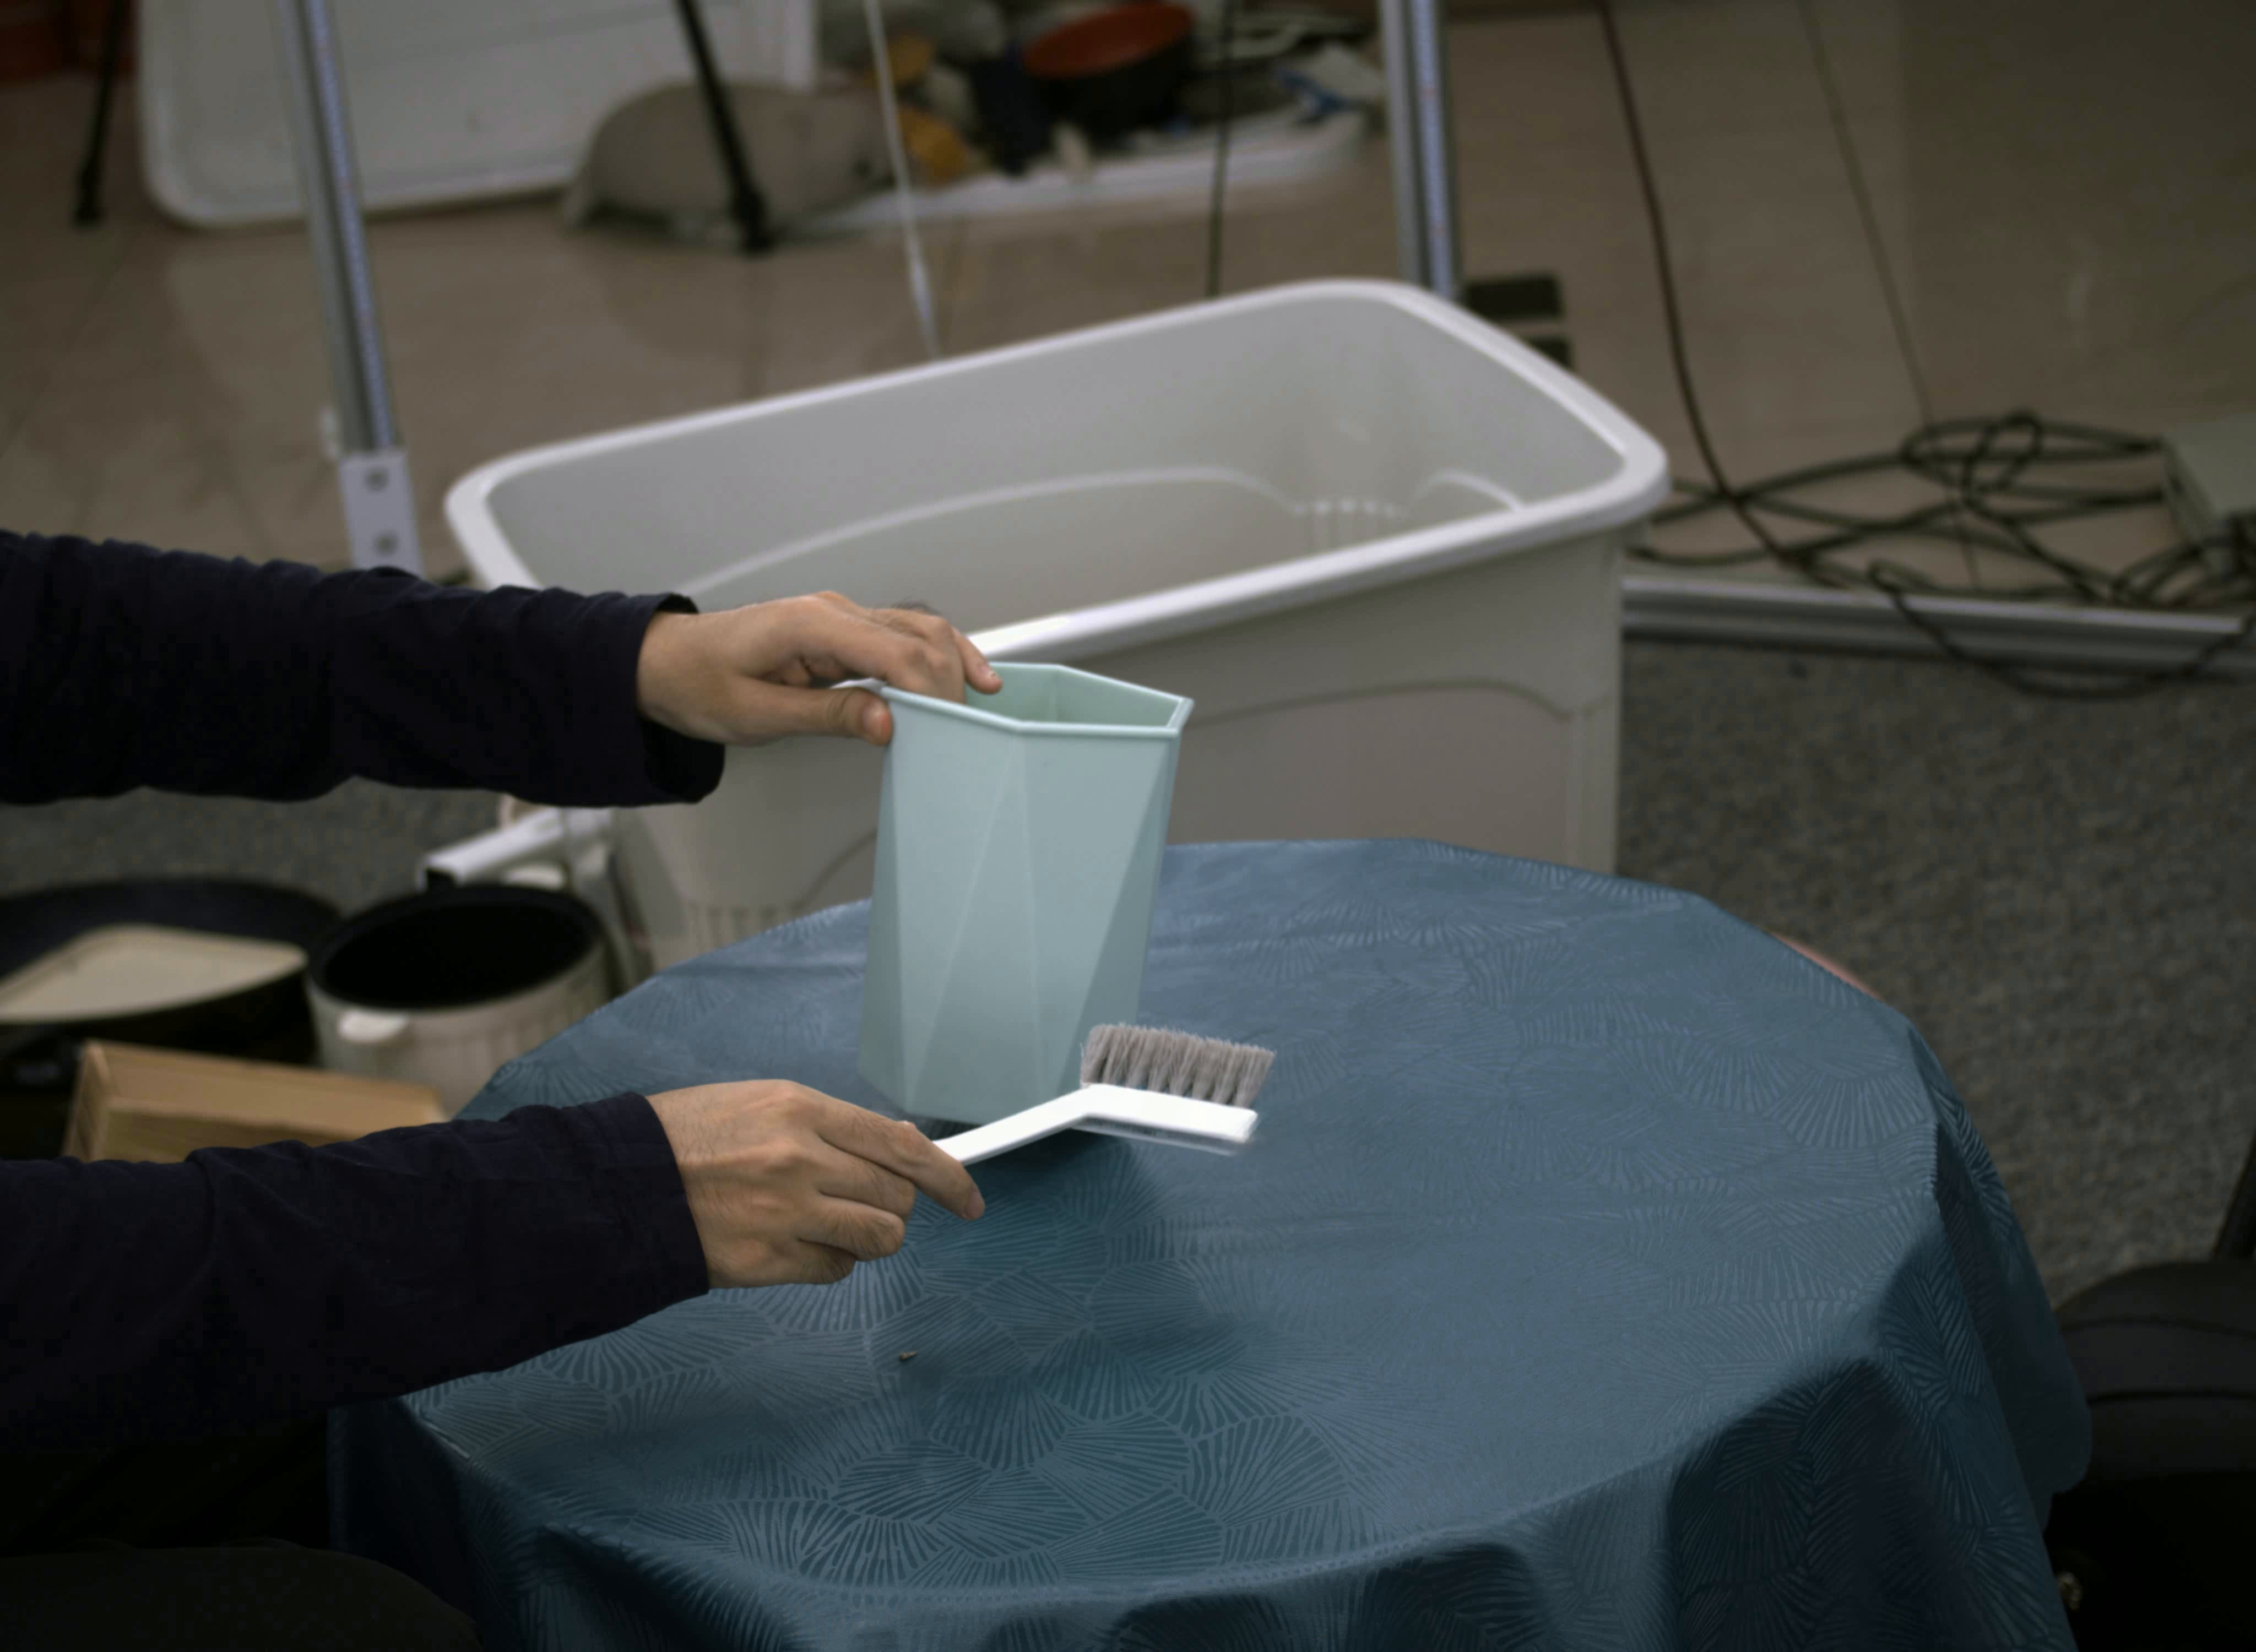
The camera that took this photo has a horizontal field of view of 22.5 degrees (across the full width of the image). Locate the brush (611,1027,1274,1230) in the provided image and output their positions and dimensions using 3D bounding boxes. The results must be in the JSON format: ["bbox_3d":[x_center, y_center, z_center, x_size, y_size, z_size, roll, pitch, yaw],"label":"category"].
[{"bbox_3d":[-0.067,0.107,2.038,0.243,0.050,0.034,-8,-12,1],"label":"brush"}]

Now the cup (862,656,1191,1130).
[{"bbox_3d":[-0.043,0.025,2.180,0.130,0.164,0.114,15,16,31],"label":"cup"}]
